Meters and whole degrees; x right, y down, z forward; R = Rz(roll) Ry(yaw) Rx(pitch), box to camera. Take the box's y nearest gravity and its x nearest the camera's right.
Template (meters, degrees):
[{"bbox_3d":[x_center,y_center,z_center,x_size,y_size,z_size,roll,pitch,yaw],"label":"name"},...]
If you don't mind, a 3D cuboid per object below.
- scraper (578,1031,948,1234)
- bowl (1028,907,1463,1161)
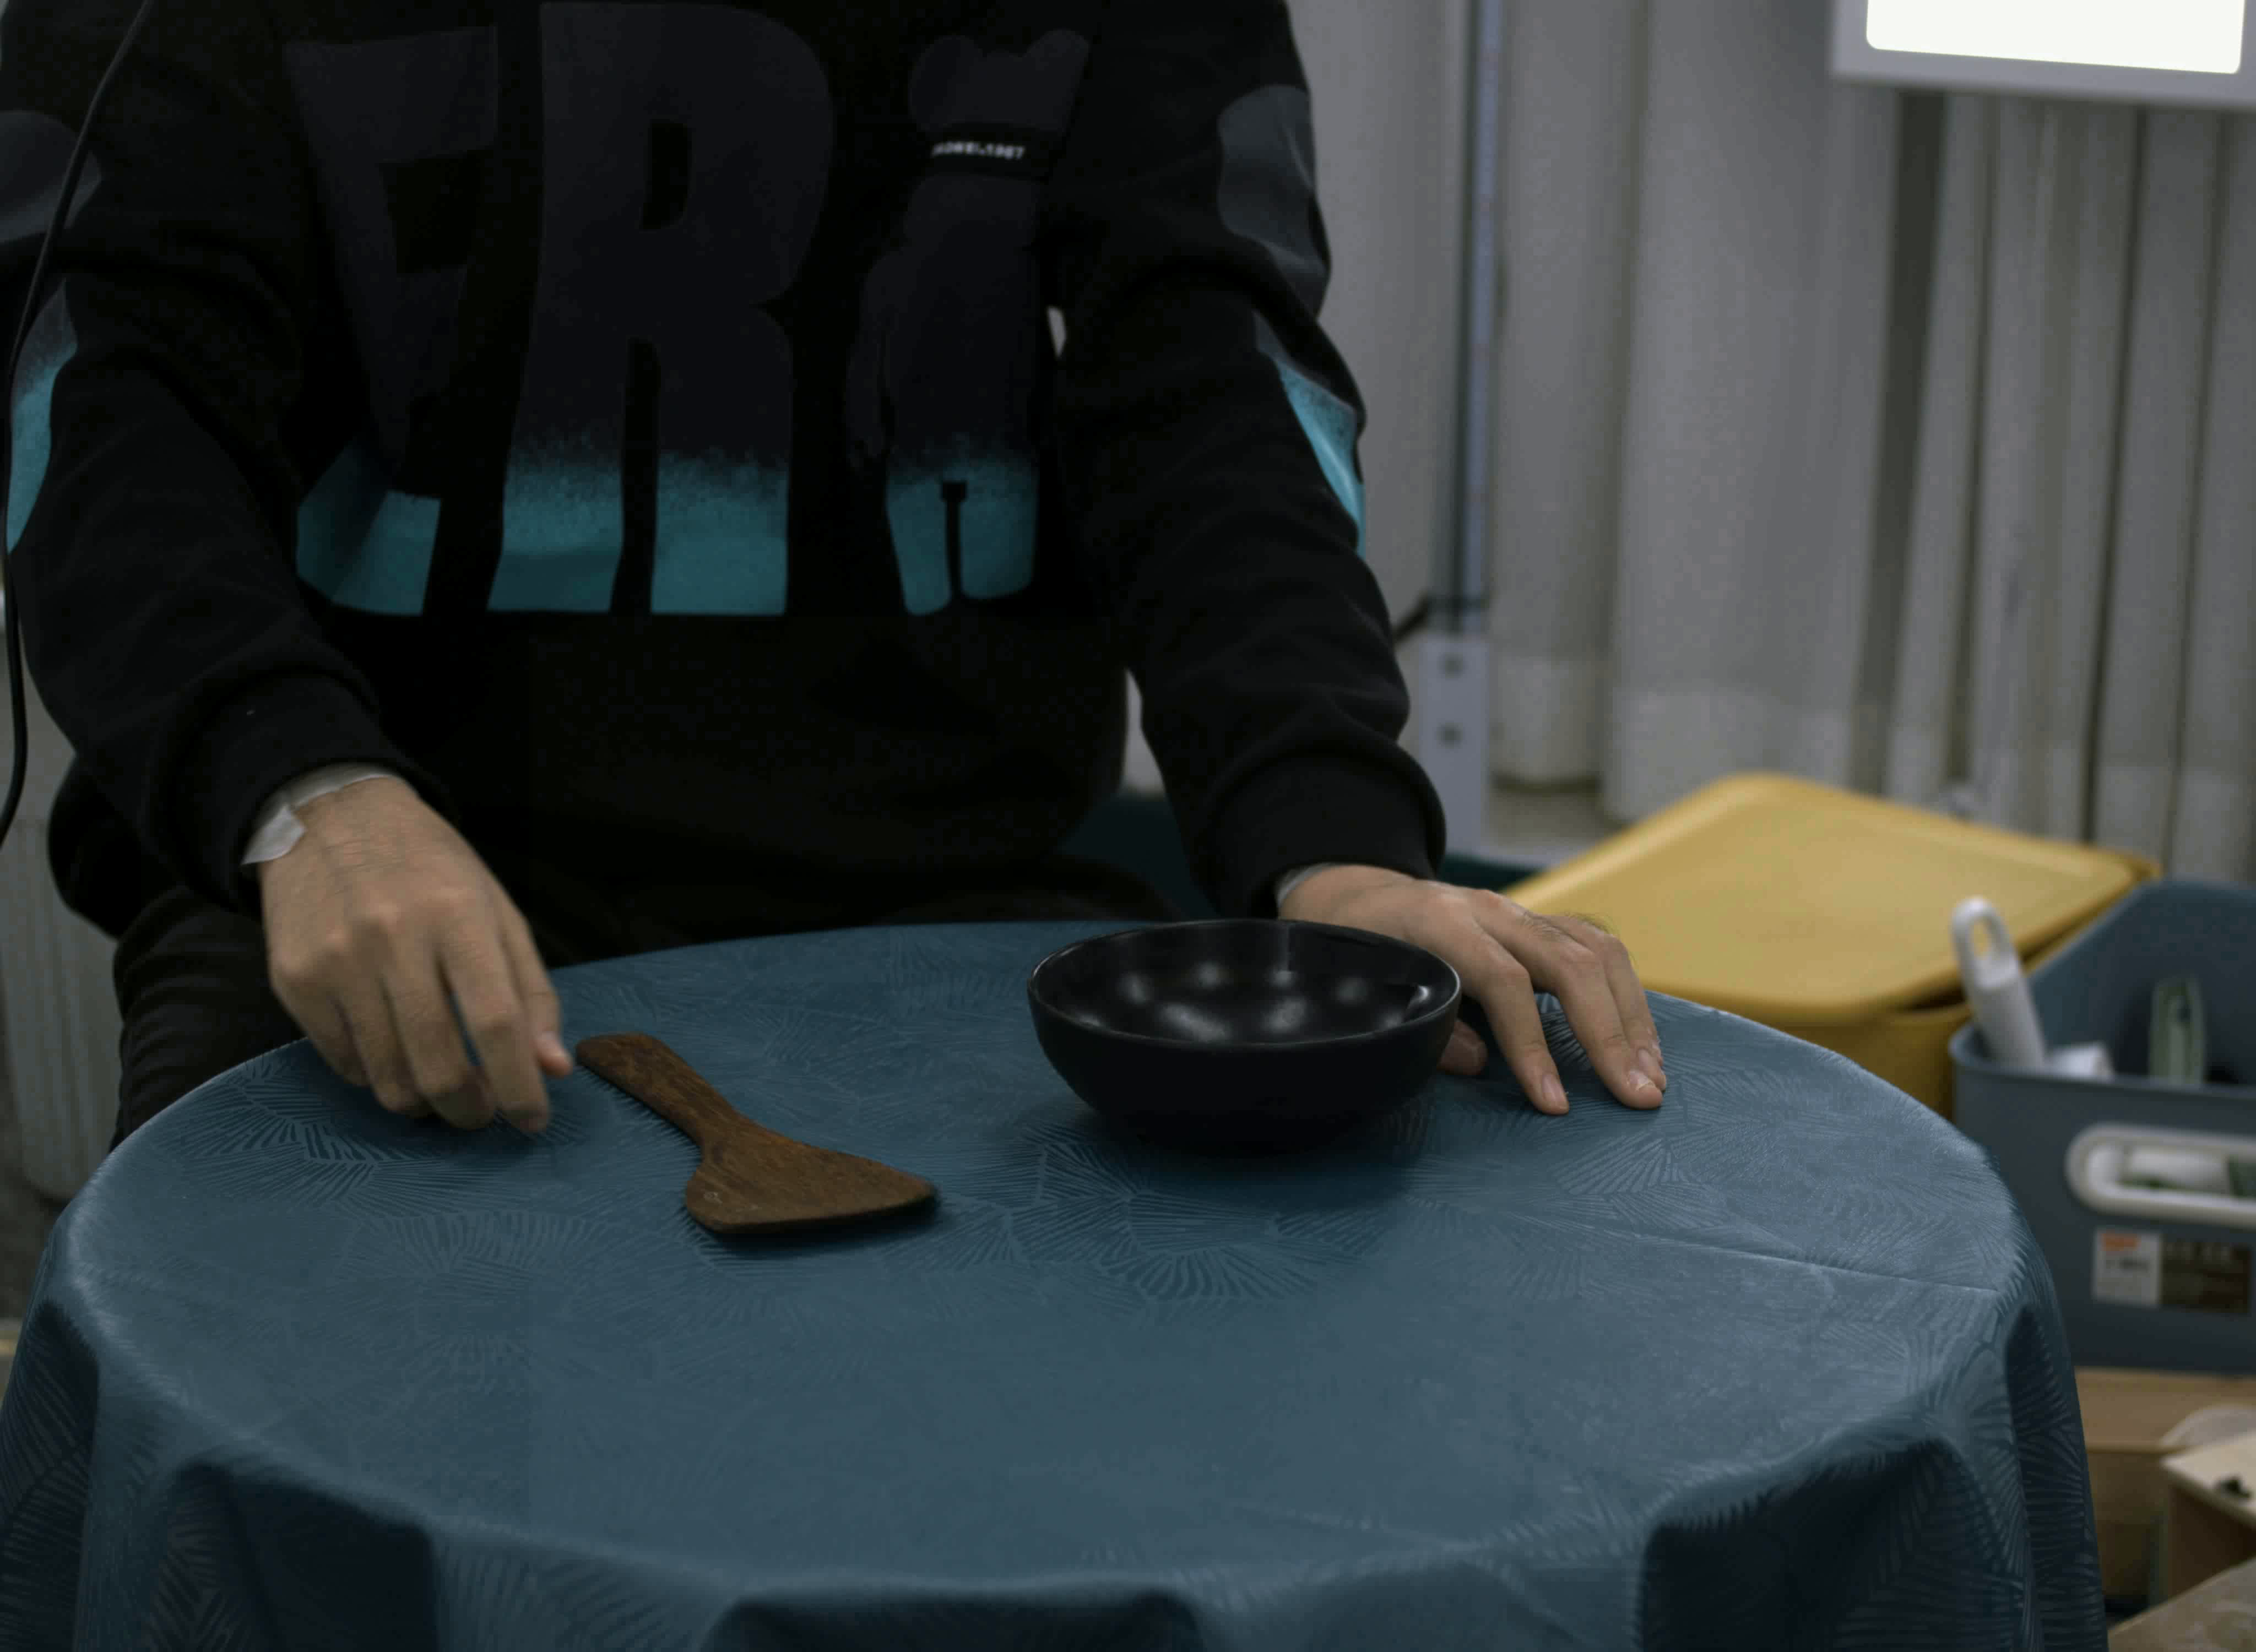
[{"bbox_3d":[-0.128,0.096,1.666,0.076,0.011,0.209,-6,16,-25],"label":"scraper"},{"bbox_3d":[0.038,0.071,1.681,0.139,0.050,0.139,-1,18,1],"label":"bowl"}]
